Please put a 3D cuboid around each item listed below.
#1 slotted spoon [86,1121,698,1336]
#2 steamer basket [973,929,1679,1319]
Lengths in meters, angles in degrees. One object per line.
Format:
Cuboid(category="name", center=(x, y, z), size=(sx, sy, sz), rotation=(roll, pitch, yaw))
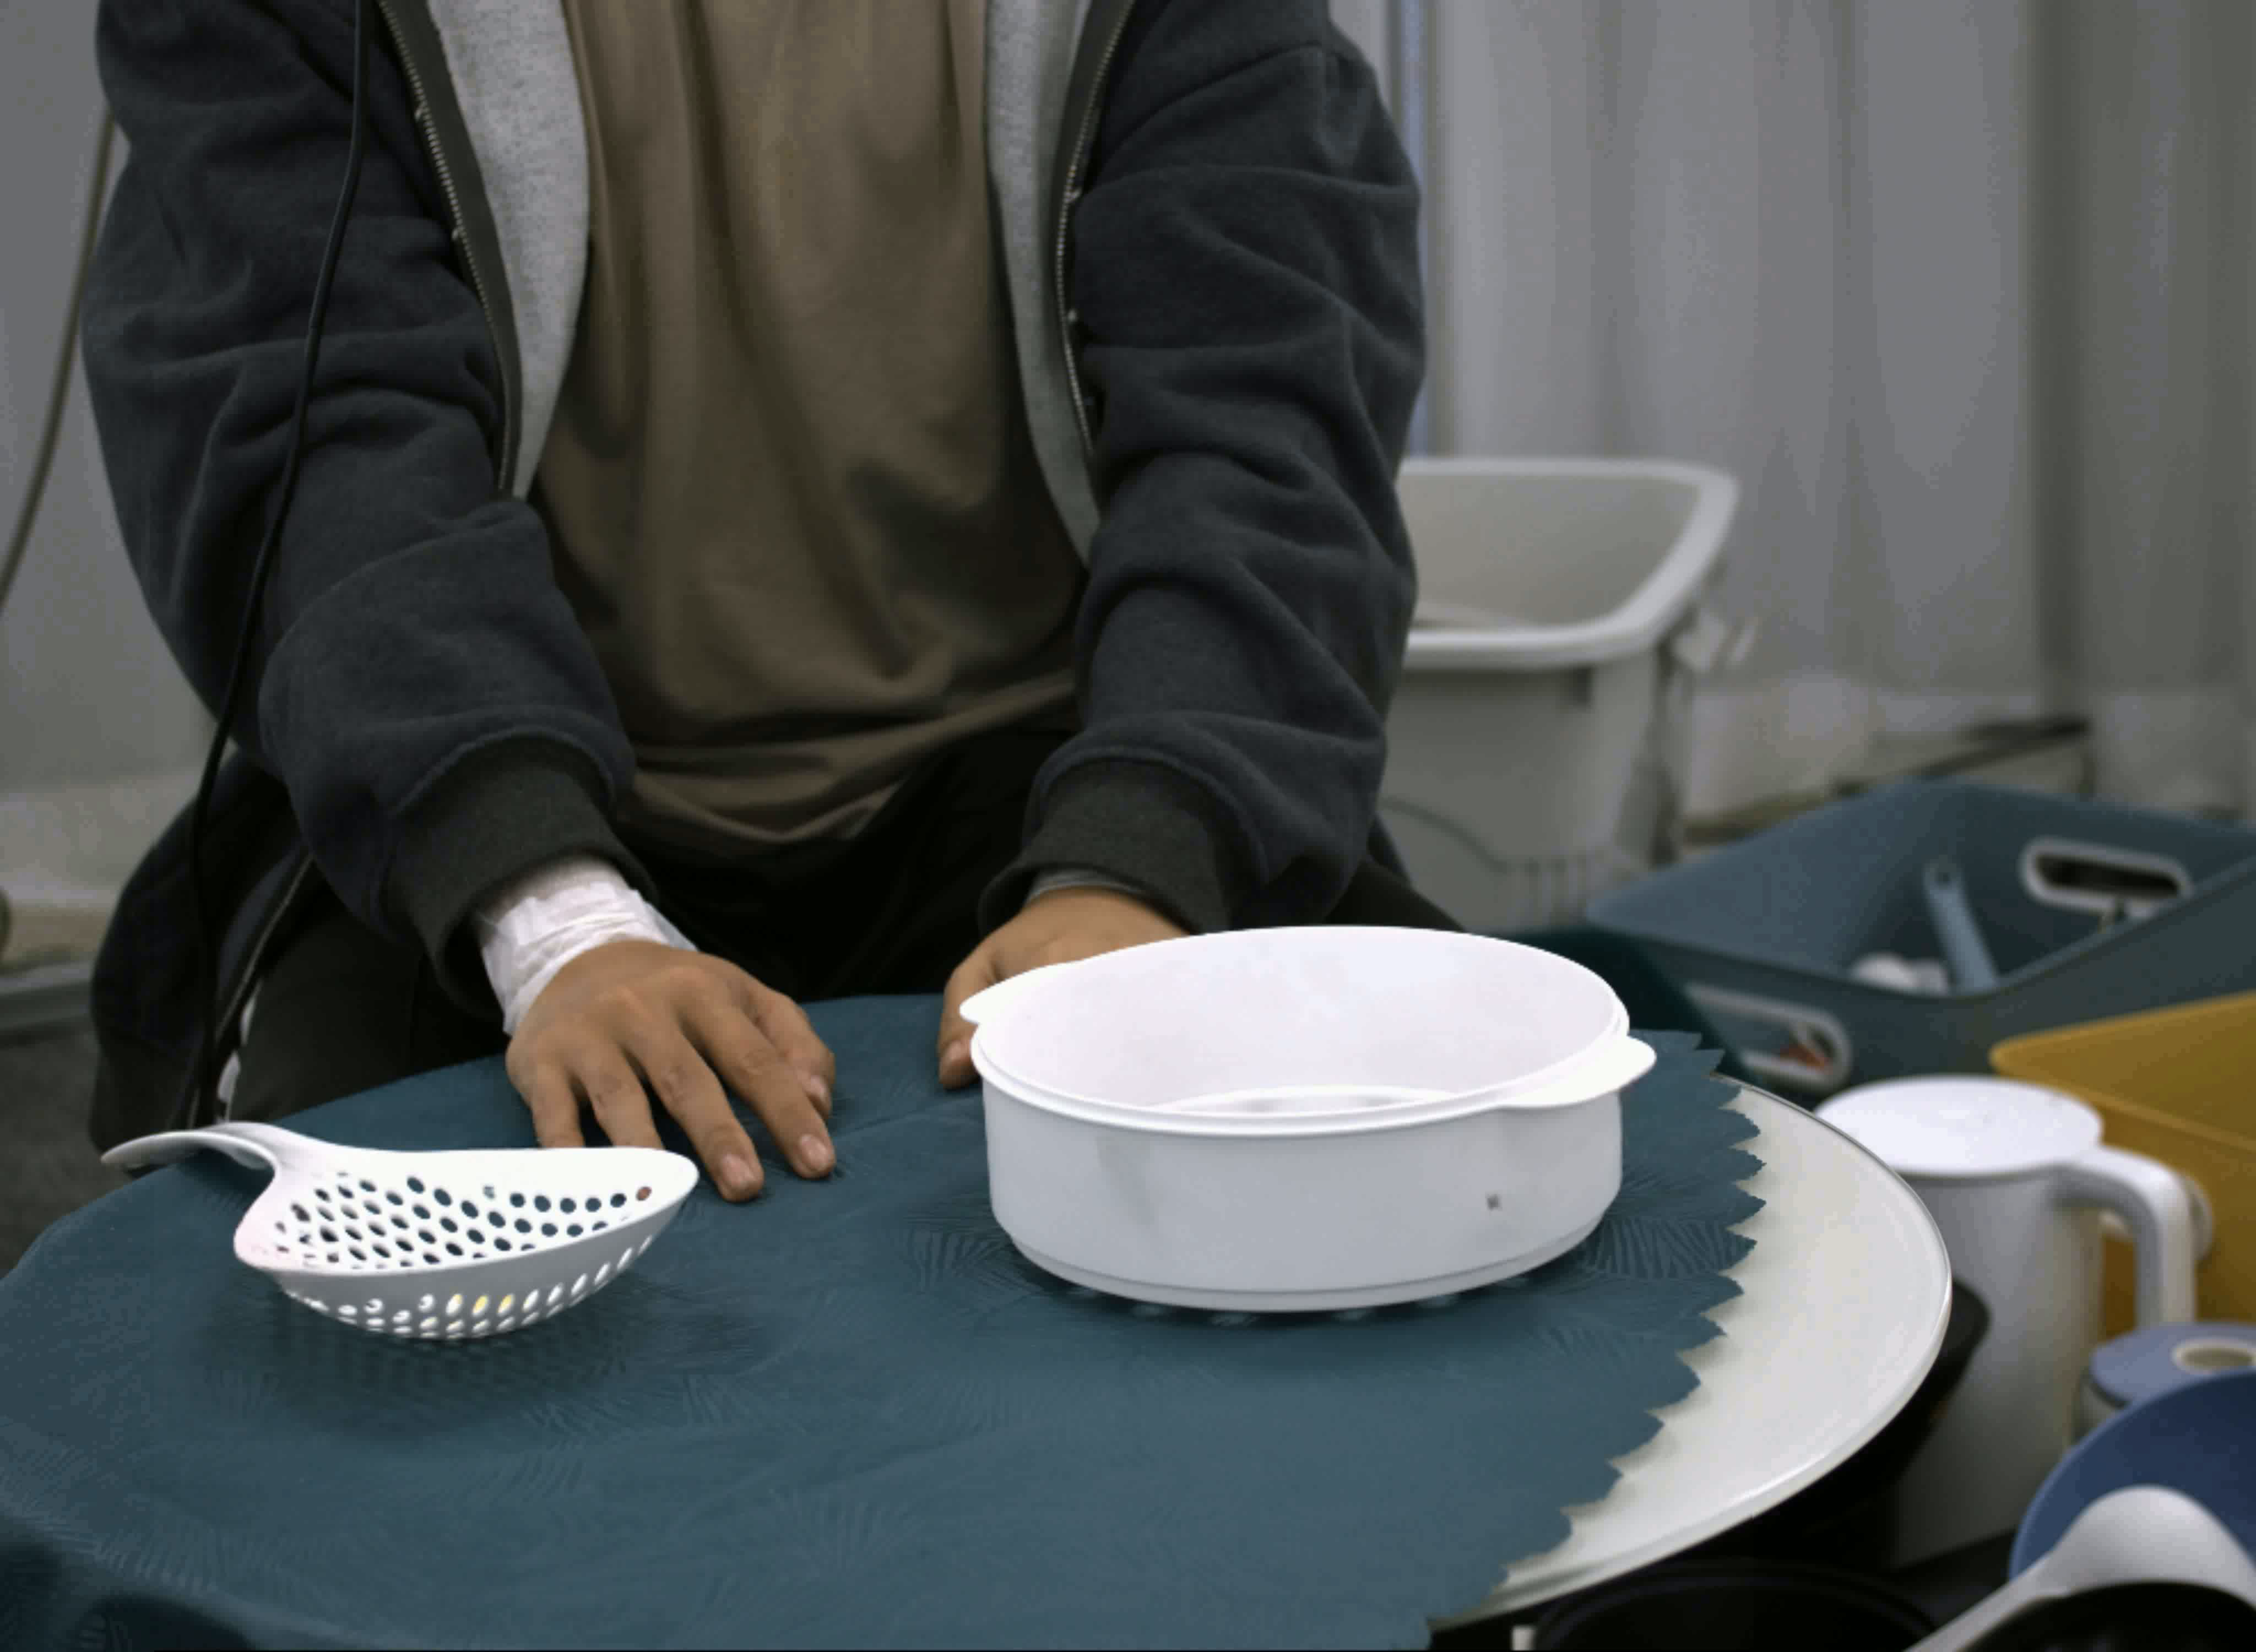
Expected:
Cuboid(category="slotted spoon", center=(-0.251, 0.117, 1.710), size=(0.136, 0.050, 0.350), rotation=(-18, 15, -30))
Cuboid(category="steamer basket", center=(0.058, 0.090, 1.667), size=(0.231, 0.069, 0.202), rotation=(9, 18, 33))
